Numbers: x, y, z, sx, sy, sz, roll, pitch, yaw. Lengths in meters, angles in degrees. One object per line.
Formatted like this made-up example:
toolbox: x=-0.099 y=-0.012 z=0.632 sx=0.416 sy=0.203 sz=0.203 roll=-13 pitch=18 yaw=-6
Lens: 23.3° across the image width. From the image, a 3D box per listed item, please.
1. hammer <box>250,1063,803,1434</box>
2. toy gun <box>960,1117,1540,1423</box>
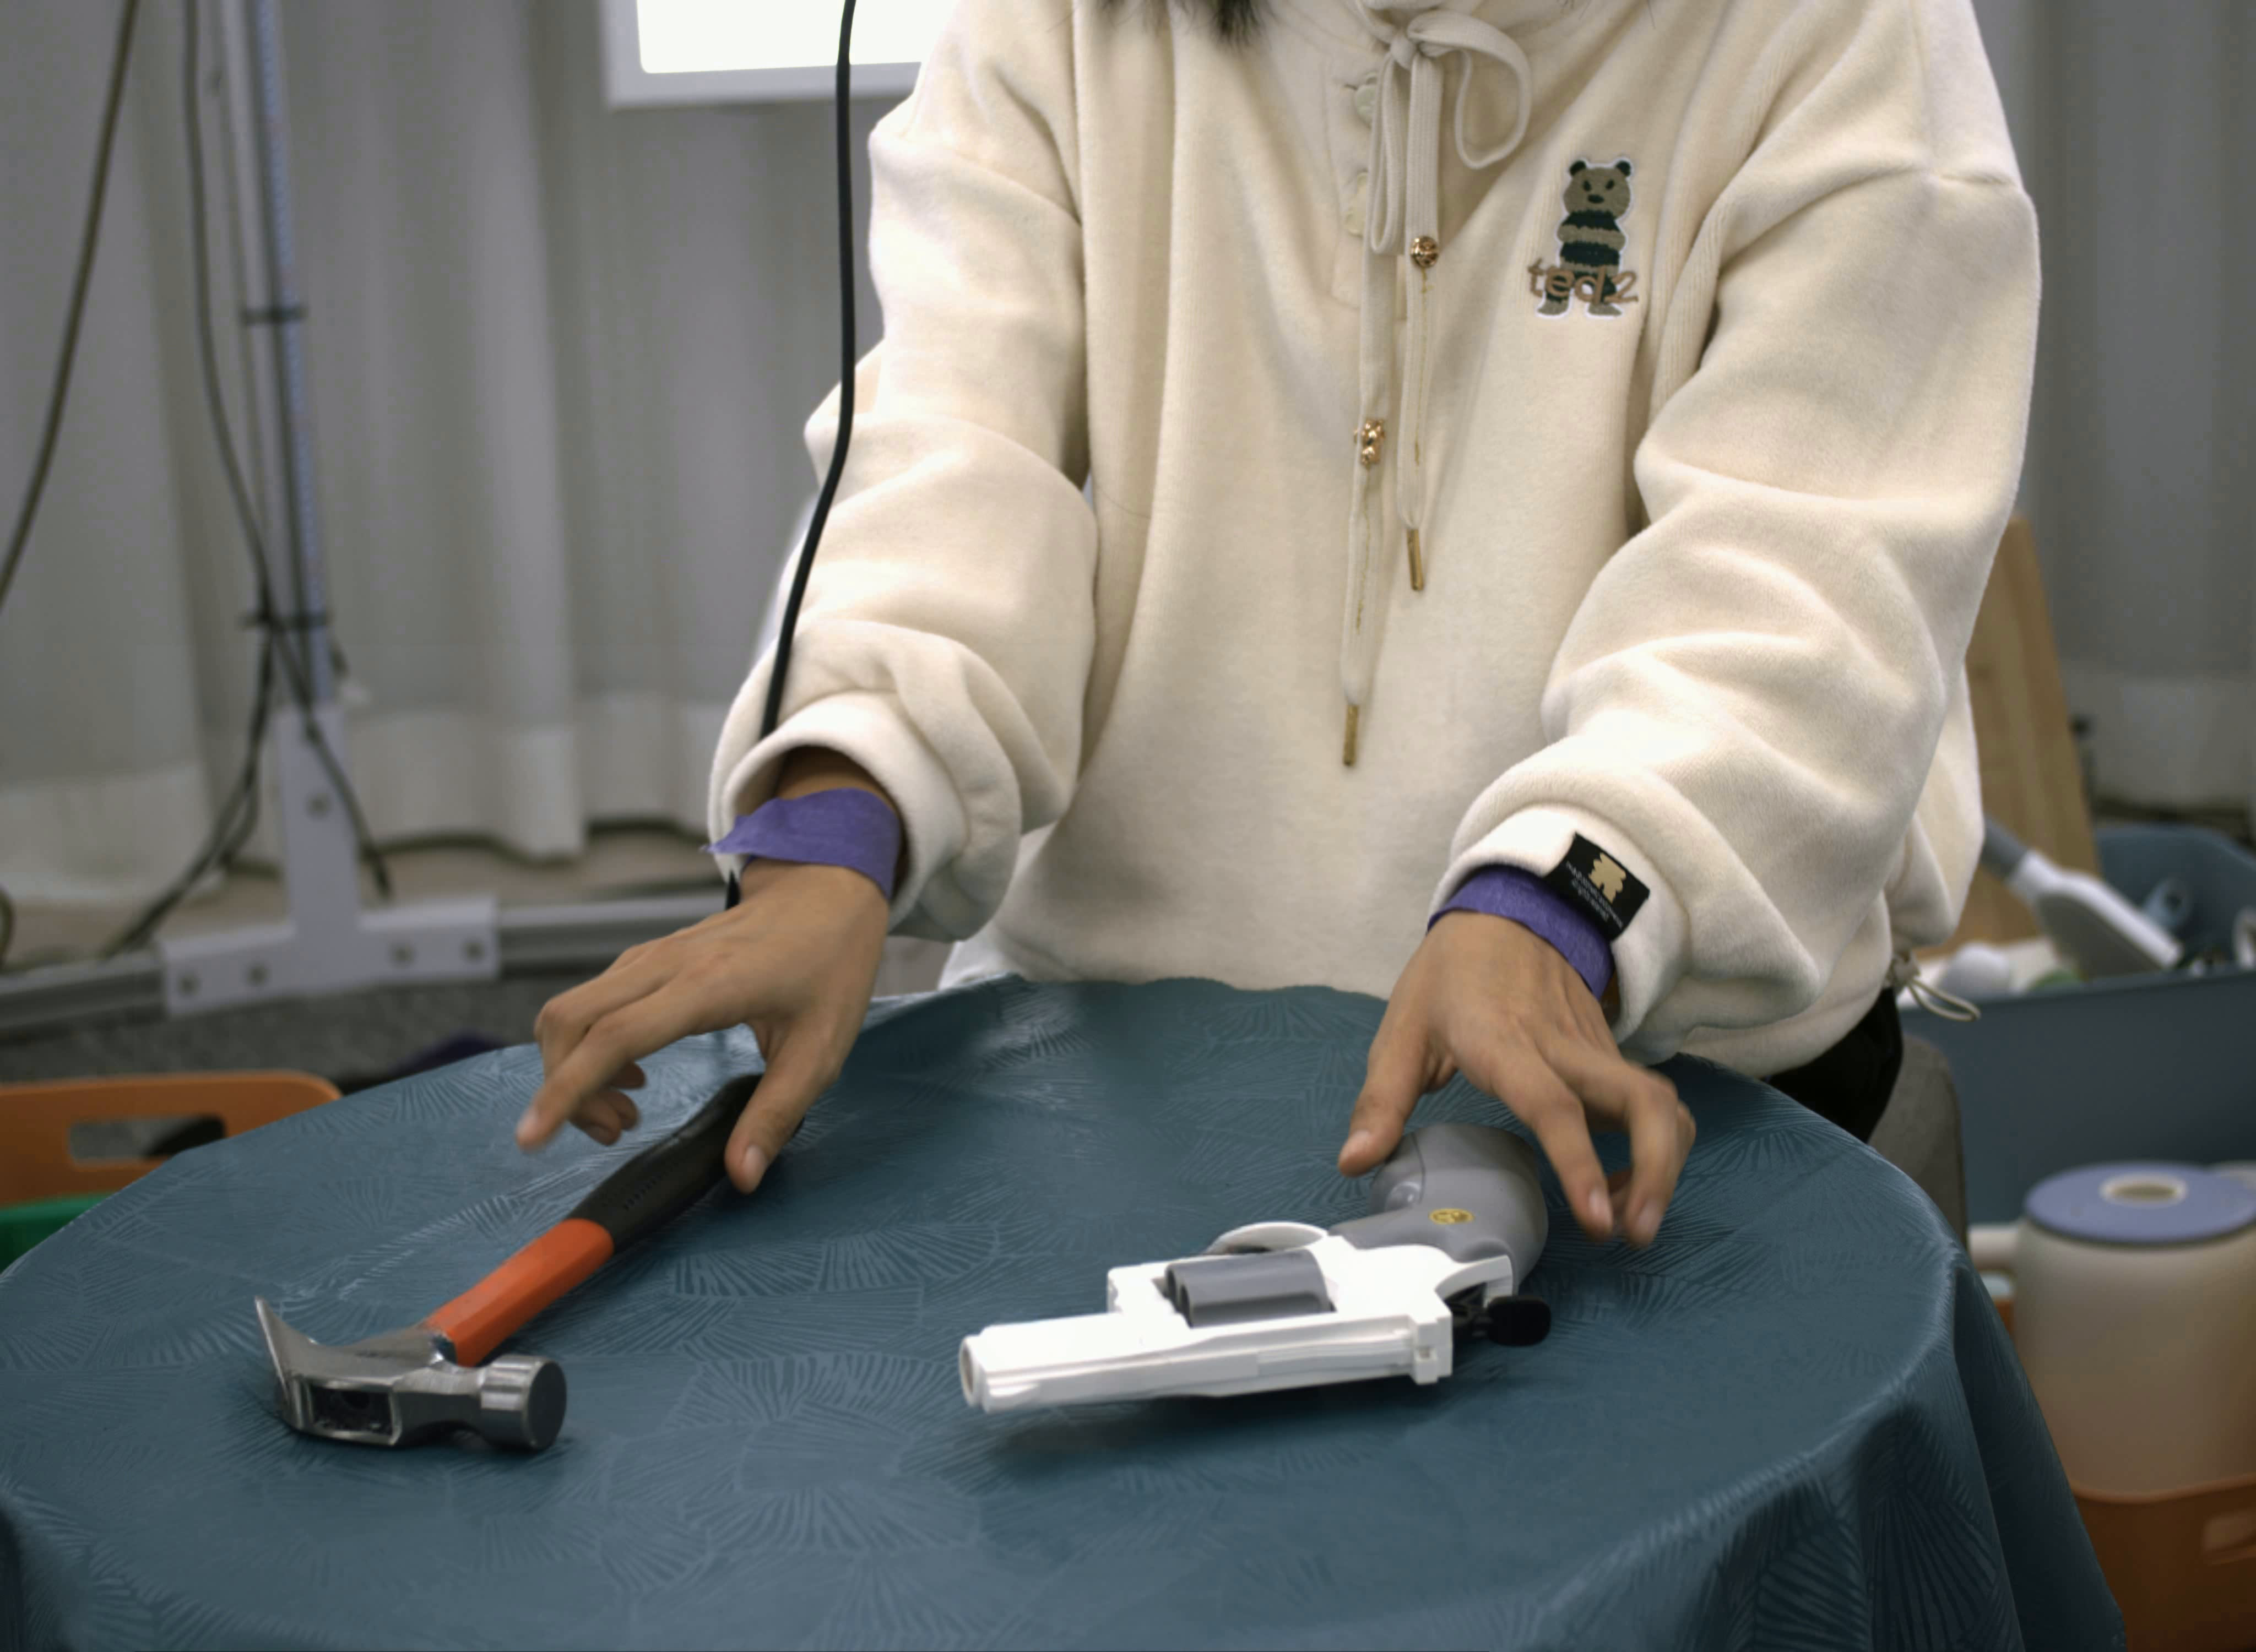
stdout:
hammer: x=-0.169 y=0.124 z=1.651 sx=0.110 sy=0.026 sz=0.278 roll=-6 pitch=13 yaw=23
toy gun: x=0.040 y=0.129 z=1.571 sx=0.208 sy=0.038 sz=0.143 roll=-6 pitch=17 yaw=-17
